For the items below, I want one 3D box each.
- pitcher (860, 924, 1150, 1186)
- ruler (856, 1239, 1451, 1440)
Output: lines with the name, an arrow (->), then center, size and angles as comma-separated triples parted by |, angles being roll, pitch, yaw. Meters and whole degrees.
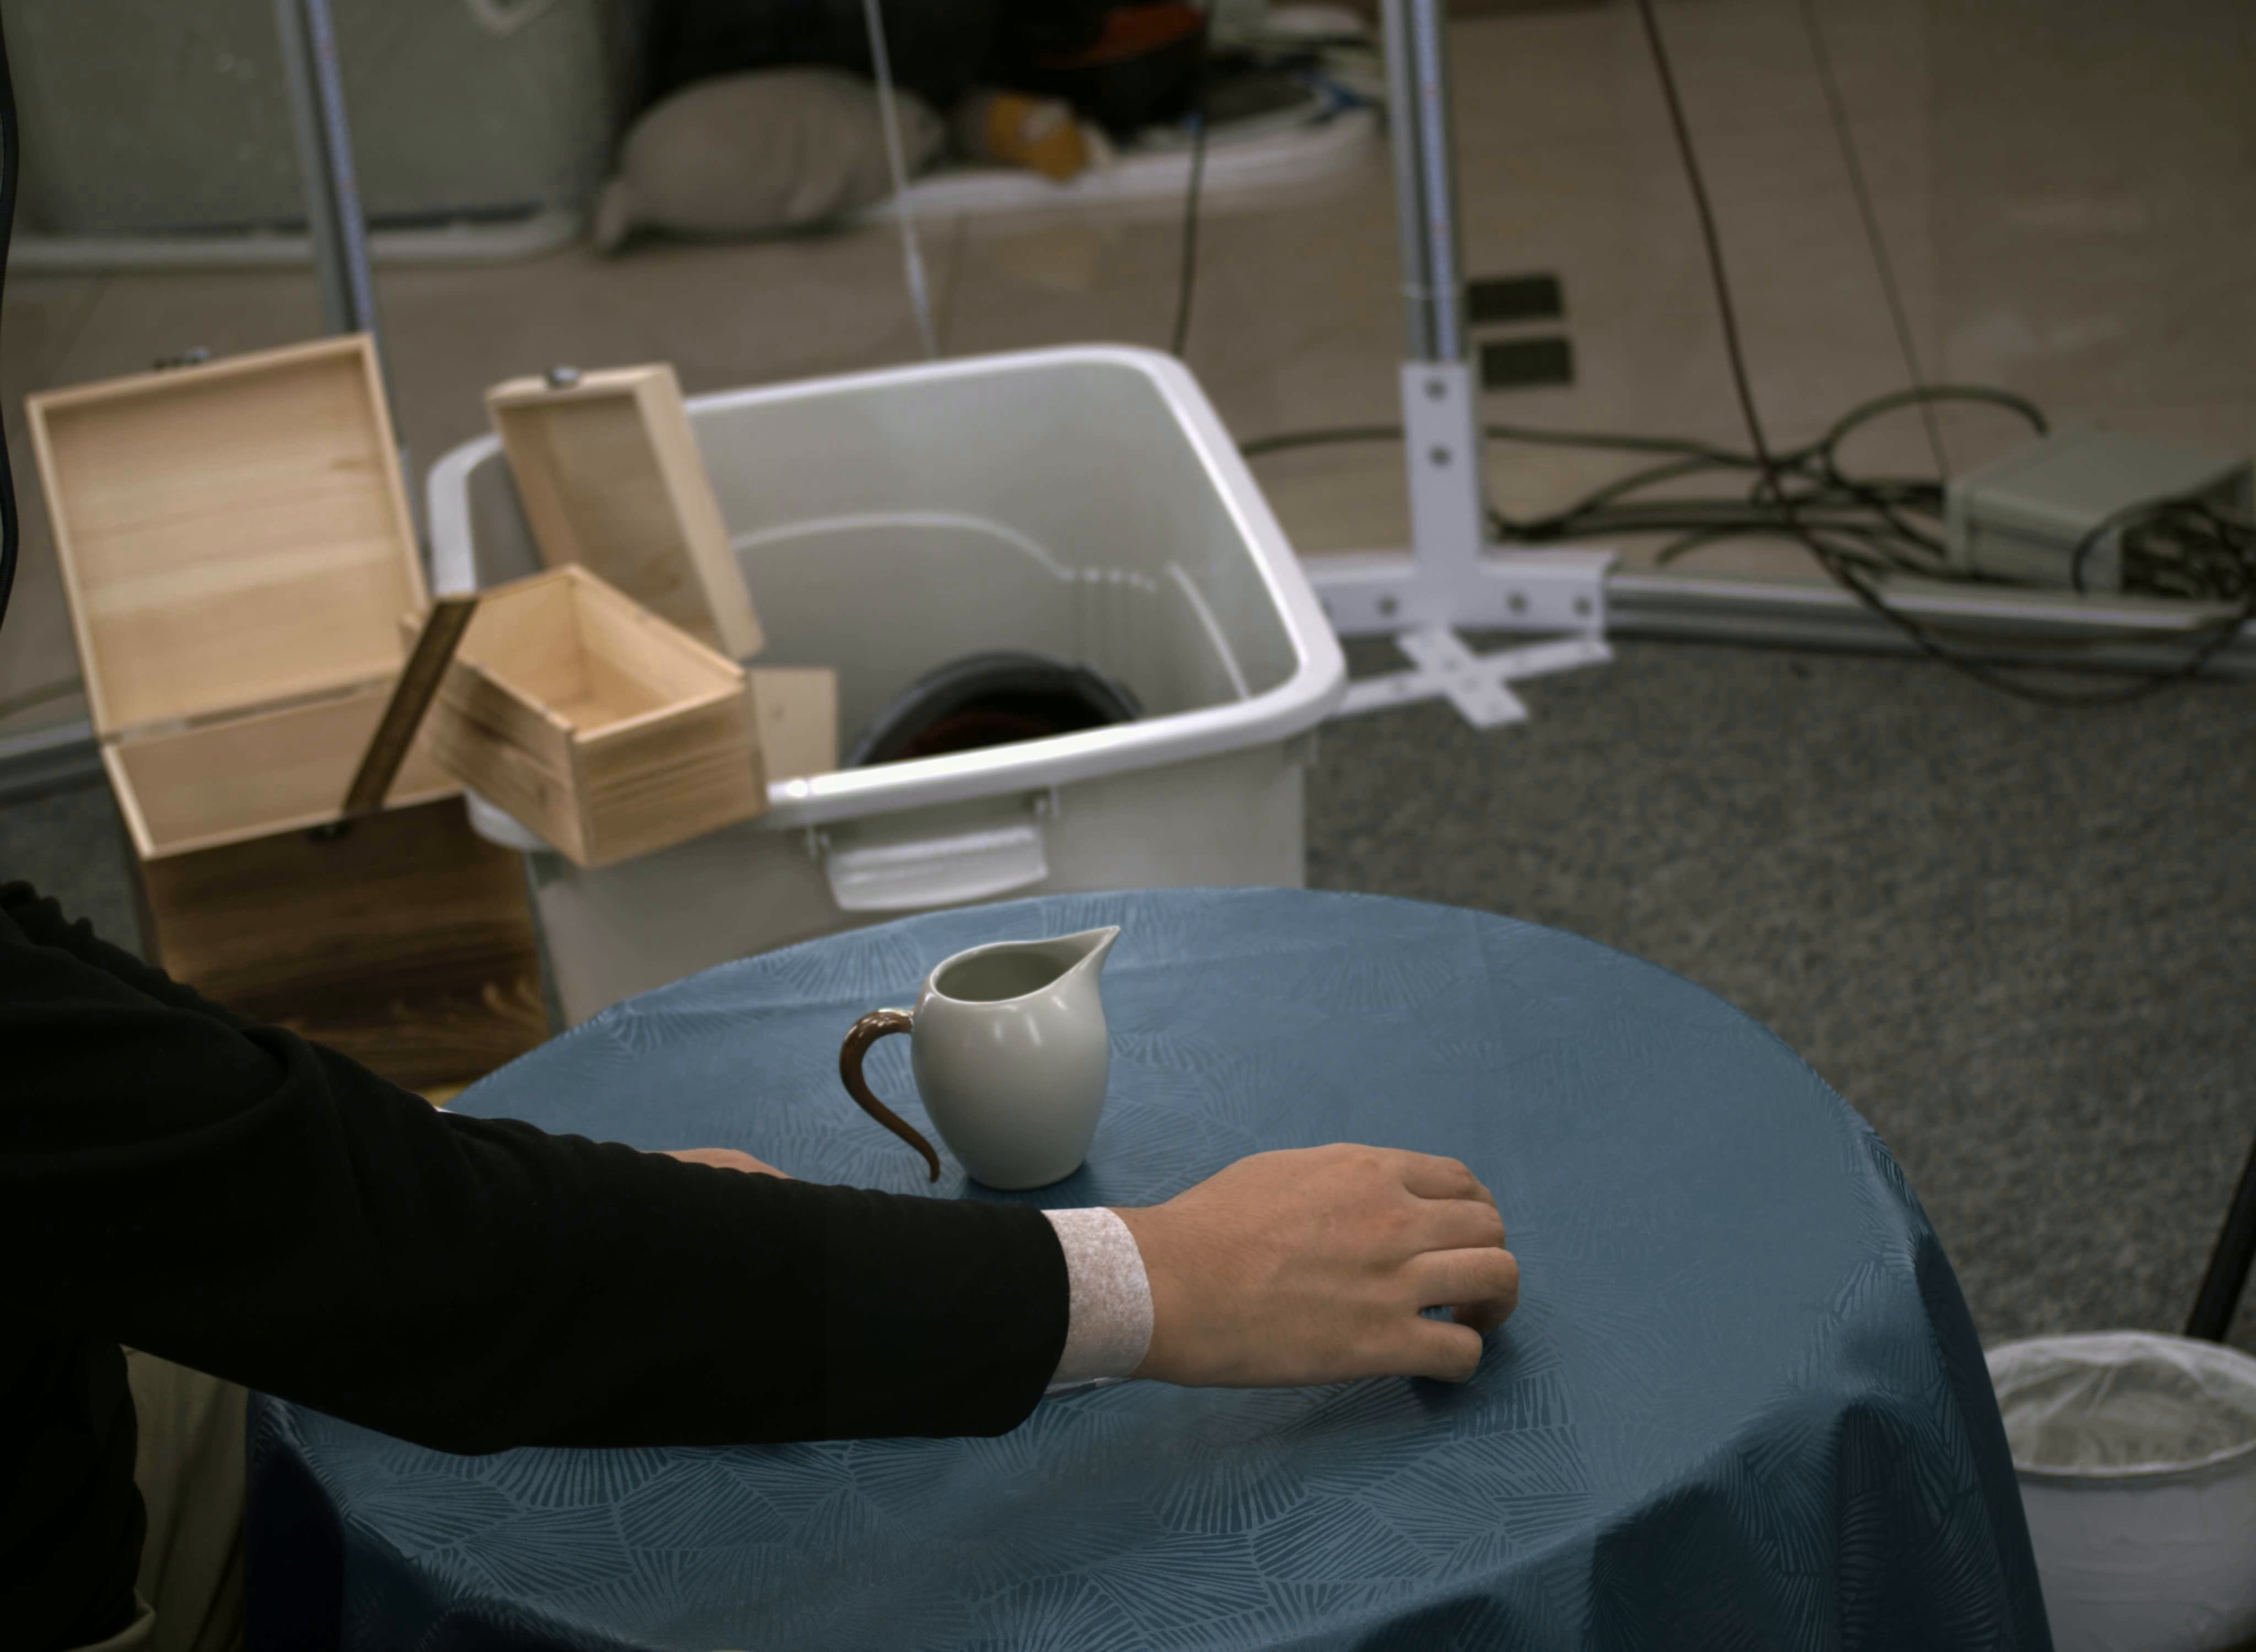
pitcher -> -0.043, 0.090, 2.159 | 0.119, 0.089, 0.075 | -12, 23, -14
ruler -> 0.008, 0.178, 2.035 | 0.217, 0.024, 0.038 | -14, 33, -11
